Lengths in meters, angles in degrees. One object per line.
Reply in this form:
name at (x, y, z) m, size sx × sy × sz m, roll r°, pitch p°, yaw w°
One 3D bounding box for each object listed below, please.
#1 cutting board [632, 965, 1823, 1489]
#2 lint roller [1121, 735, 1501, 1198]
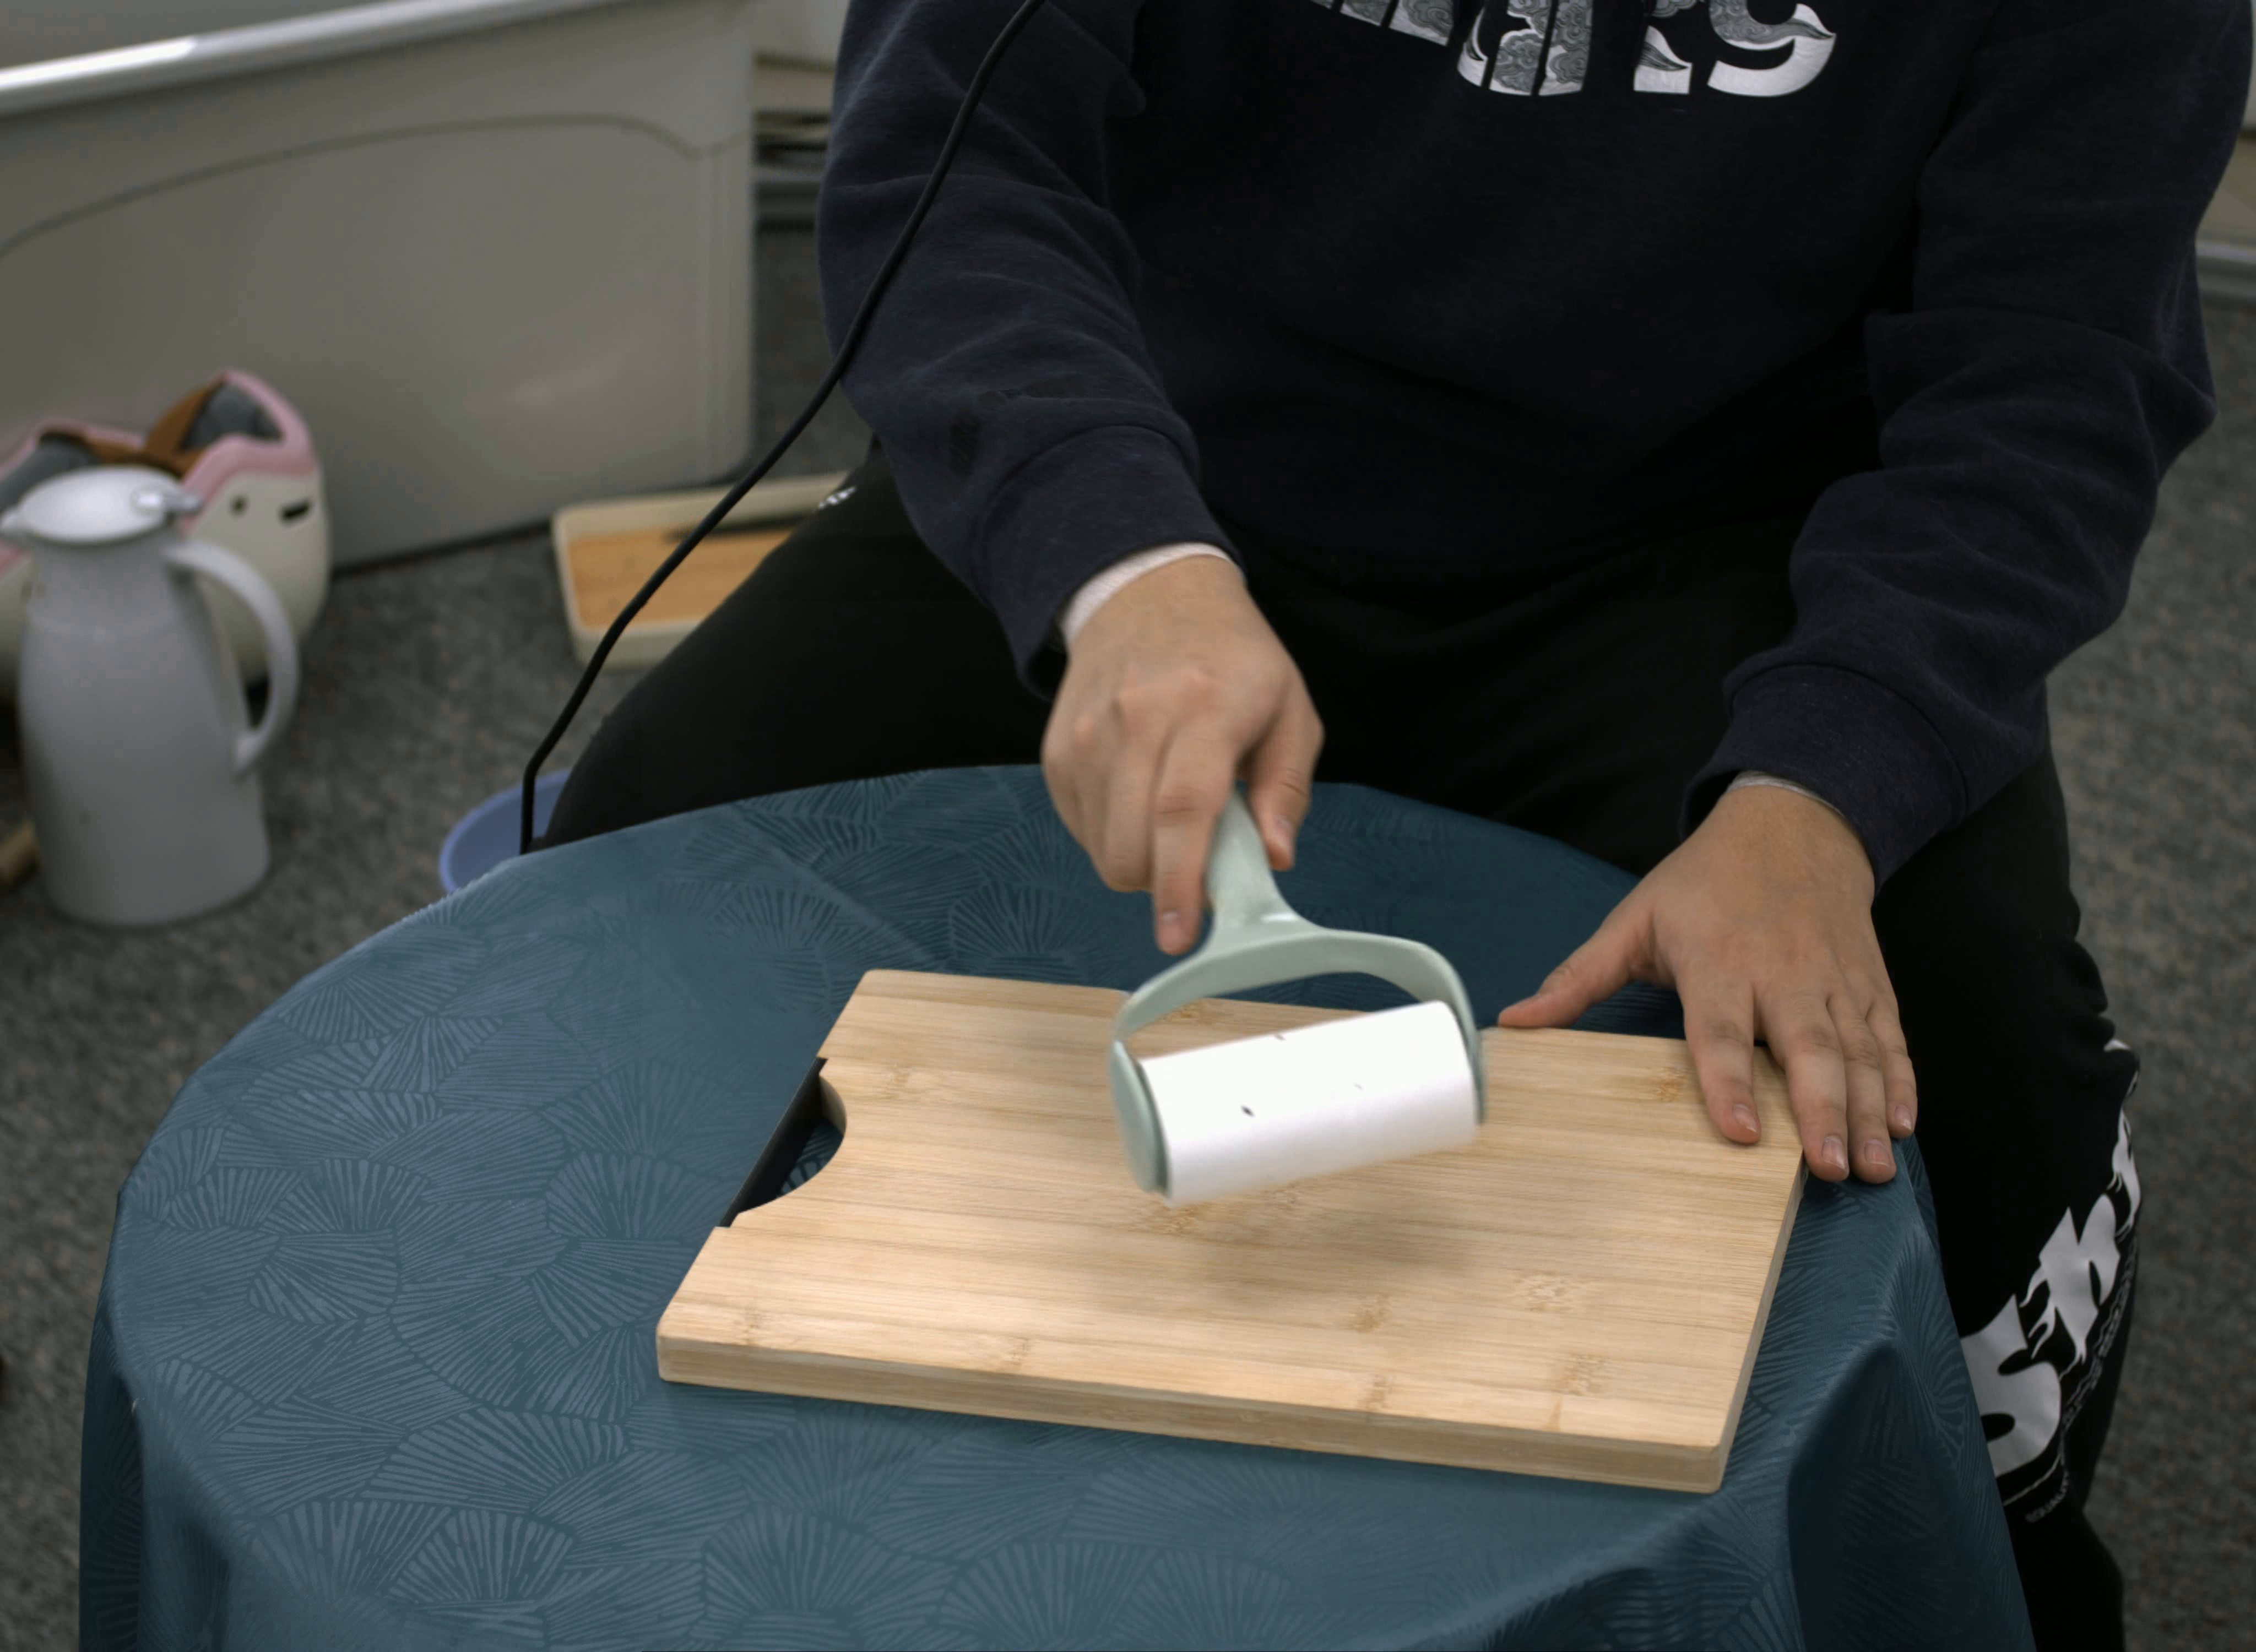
cutting board at (0.038, 0.126, 1.837) m, size 0.346 × 0.023 × 0.255 m, roll 4°, pitch 28°, yaw 13°
lint roller at (0.040, 0.031, 1.814) m, size 0.116 × 0.048 × 0.201 m, roll -12°, pitch 47°, yaw -9°
